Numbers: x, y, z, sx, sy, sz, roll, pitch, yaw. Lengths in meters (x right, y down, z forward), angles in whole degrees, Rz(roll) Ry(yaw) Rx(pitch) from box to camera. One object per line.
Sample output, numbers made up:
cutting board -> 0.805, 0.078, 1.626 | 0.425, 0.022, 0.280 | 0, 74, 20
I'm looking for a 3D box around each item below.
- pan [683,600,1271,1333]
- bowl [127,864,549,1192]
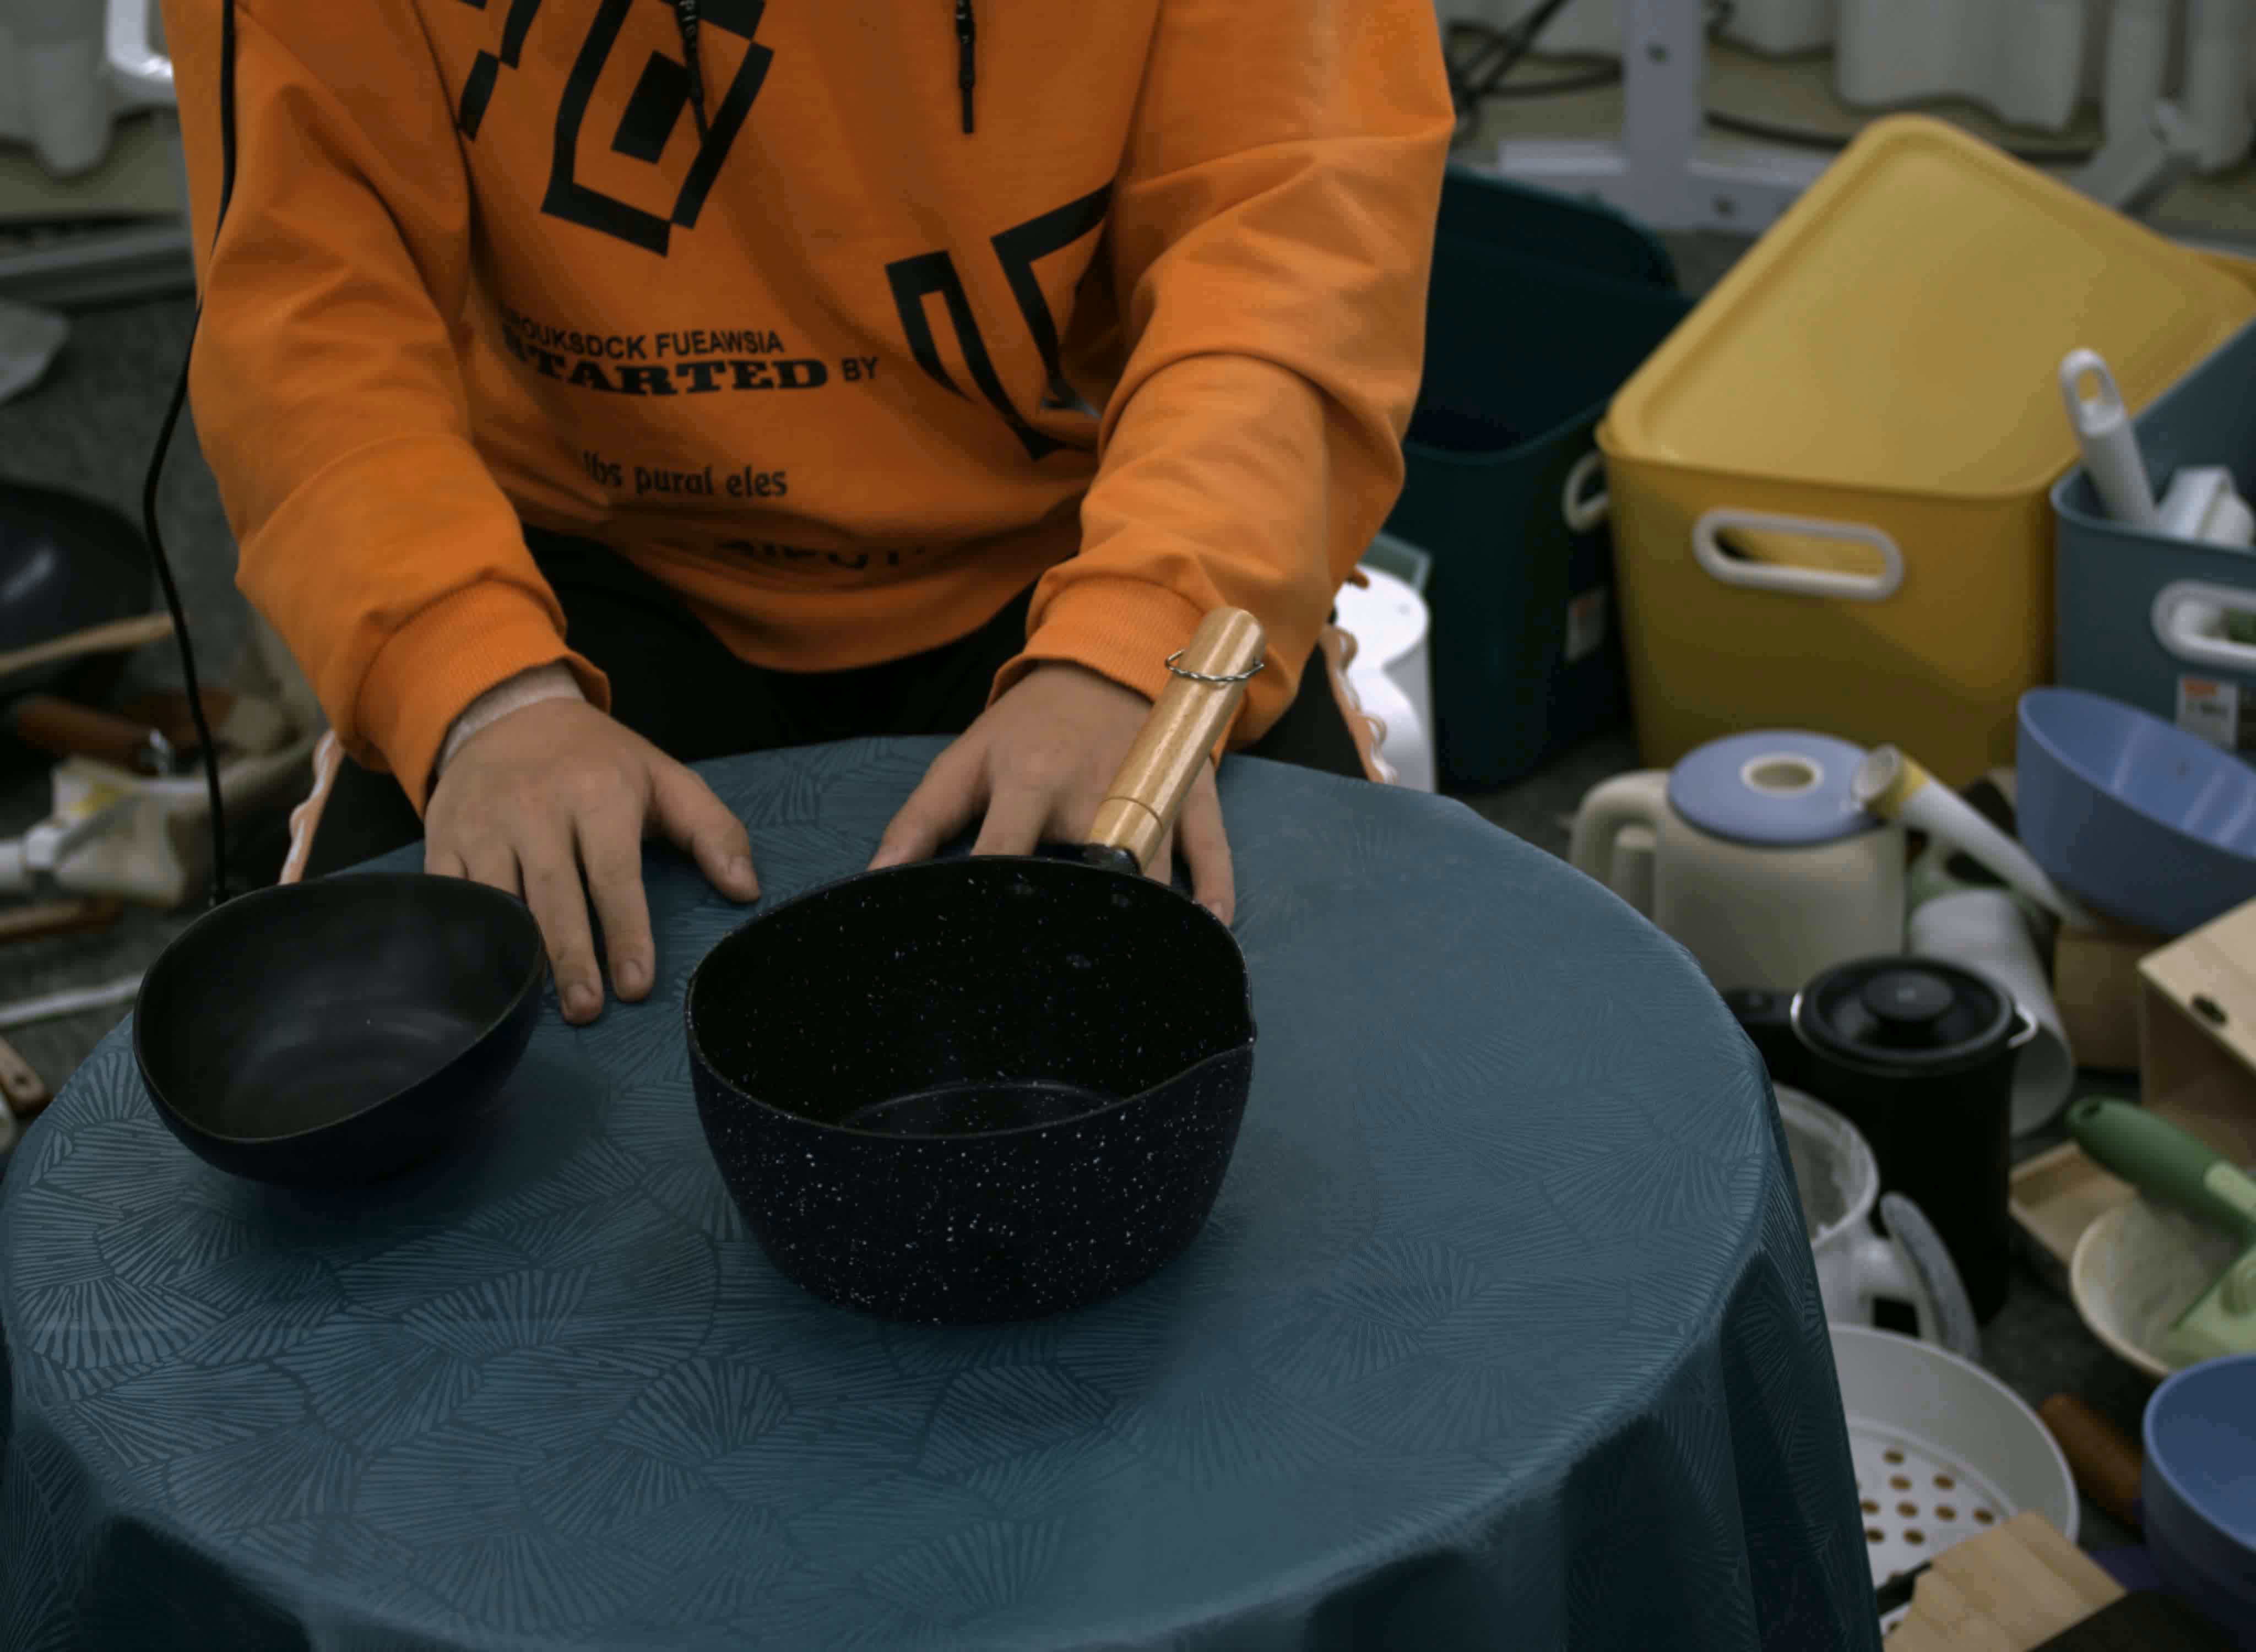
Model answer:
pan -> -0.022, 0.044, 1.900 | 0.206, 0.107, 0.349 | 6, 30, 20
bowl -> -0.264, 0.079, 1.903 | 0.136, 0.066, 0.173 | 4, 30, 14
